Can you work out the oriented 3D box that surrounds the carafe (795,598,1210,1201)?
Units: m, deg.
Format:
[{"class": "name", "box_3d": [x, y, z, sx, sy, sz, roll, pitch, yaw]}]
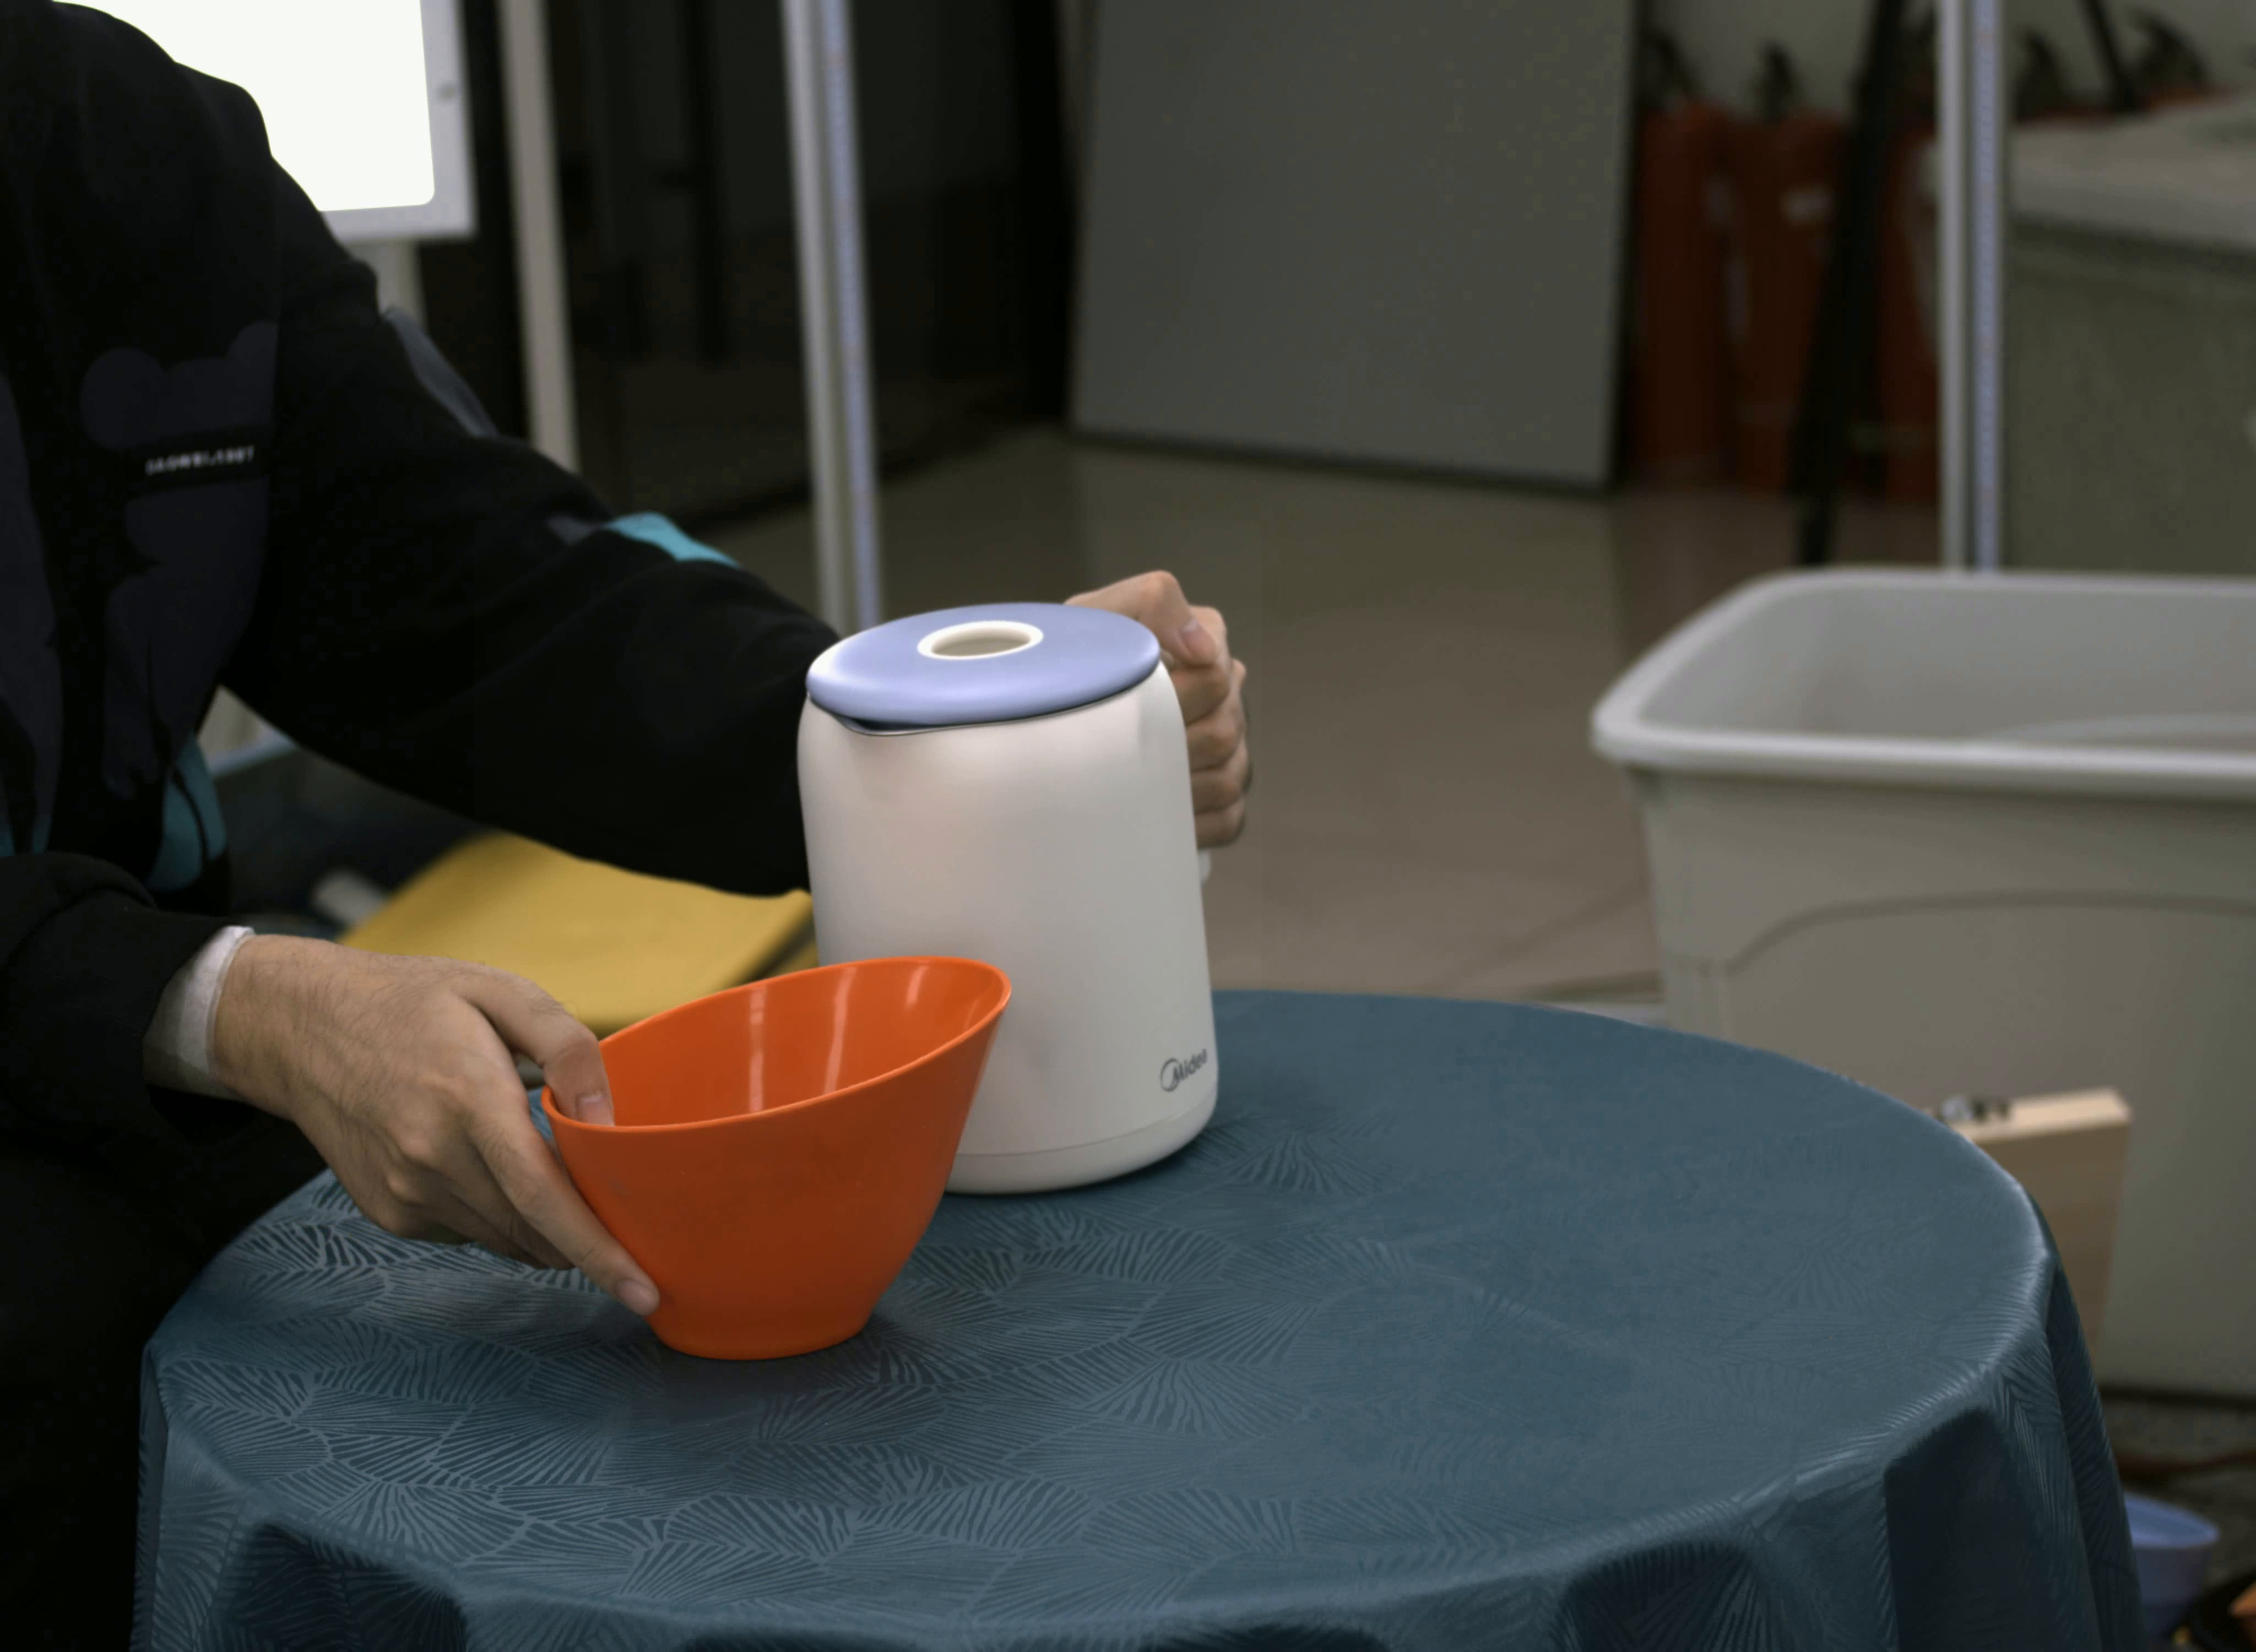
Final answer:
[{"class": "carafe", "box_3d": [-0.030, 0.017, 1.823, 0.133, 0.184, 0.188, 6, 18, 30]}]

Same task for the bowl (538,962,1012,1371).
[{"class": "bowl", "box_3d": [-0.105, 0.106, 1.652, 0.146, 0.106, 0.148, -3, 14, 0]}]
